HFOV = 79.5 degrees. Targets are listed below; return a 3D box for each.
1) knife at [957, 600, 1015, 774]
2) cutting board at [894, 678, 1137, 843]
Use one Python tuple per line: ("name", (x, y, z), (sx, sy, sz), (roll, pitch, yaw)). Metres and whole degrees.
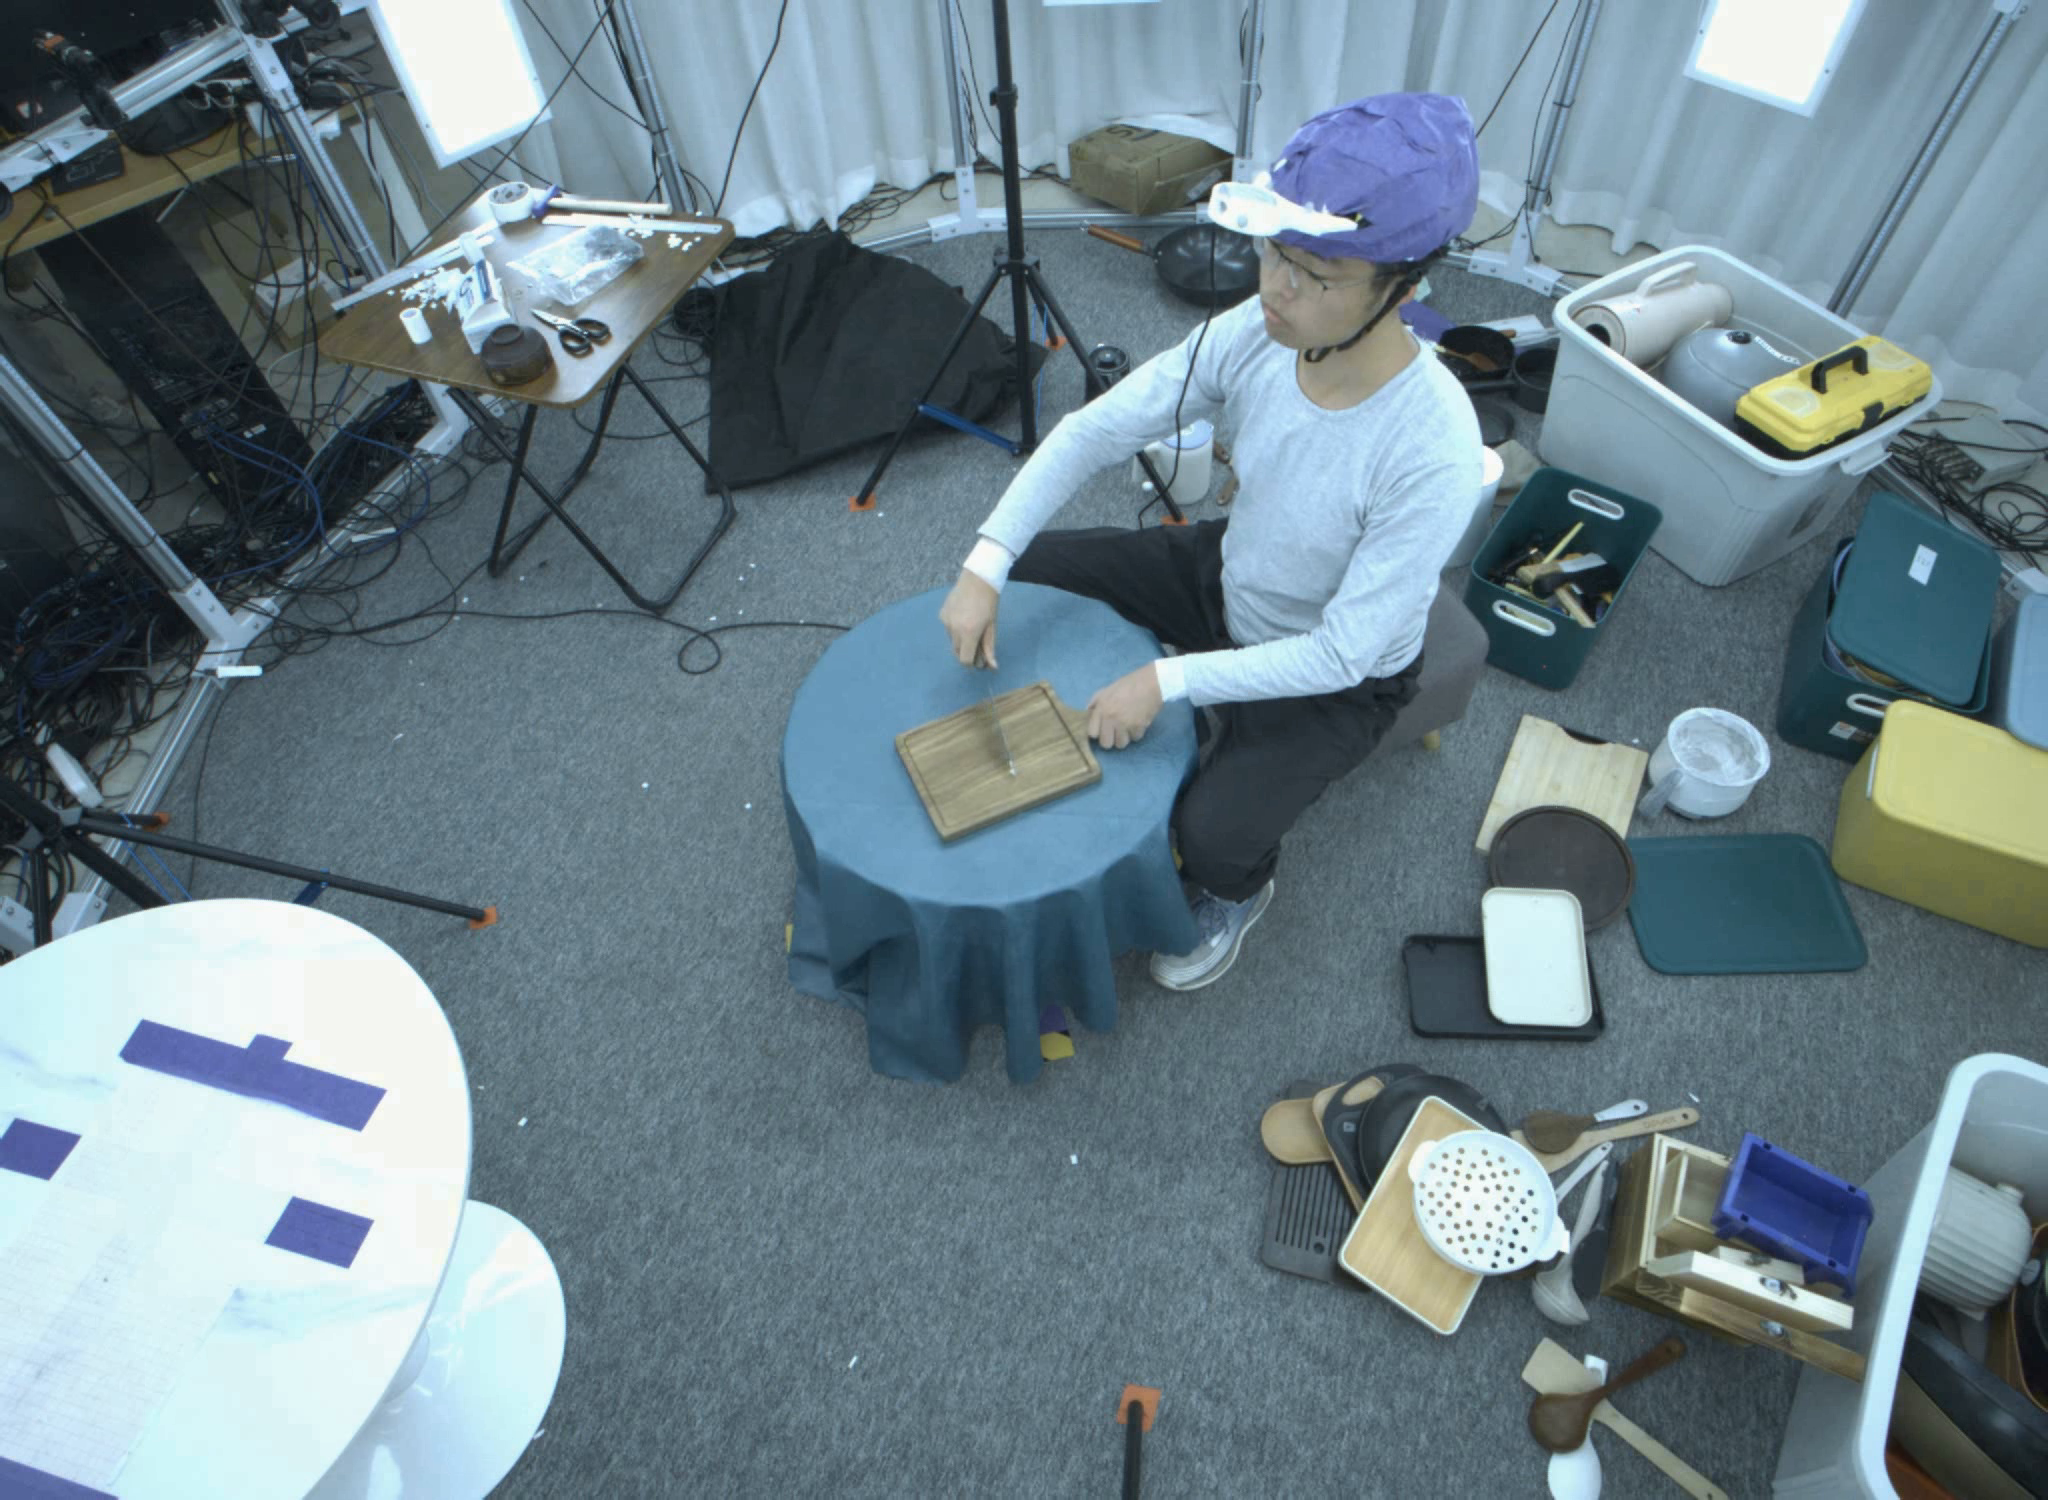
("knife", (-0.053, -0.095, 1.791), (0.020, 0.051, 0.286), (-19, 69, 3))
("cutting board", (0.006, -0.007, 1.788), (0.355, 0.023, 0.197), (-22, 57, -13))
